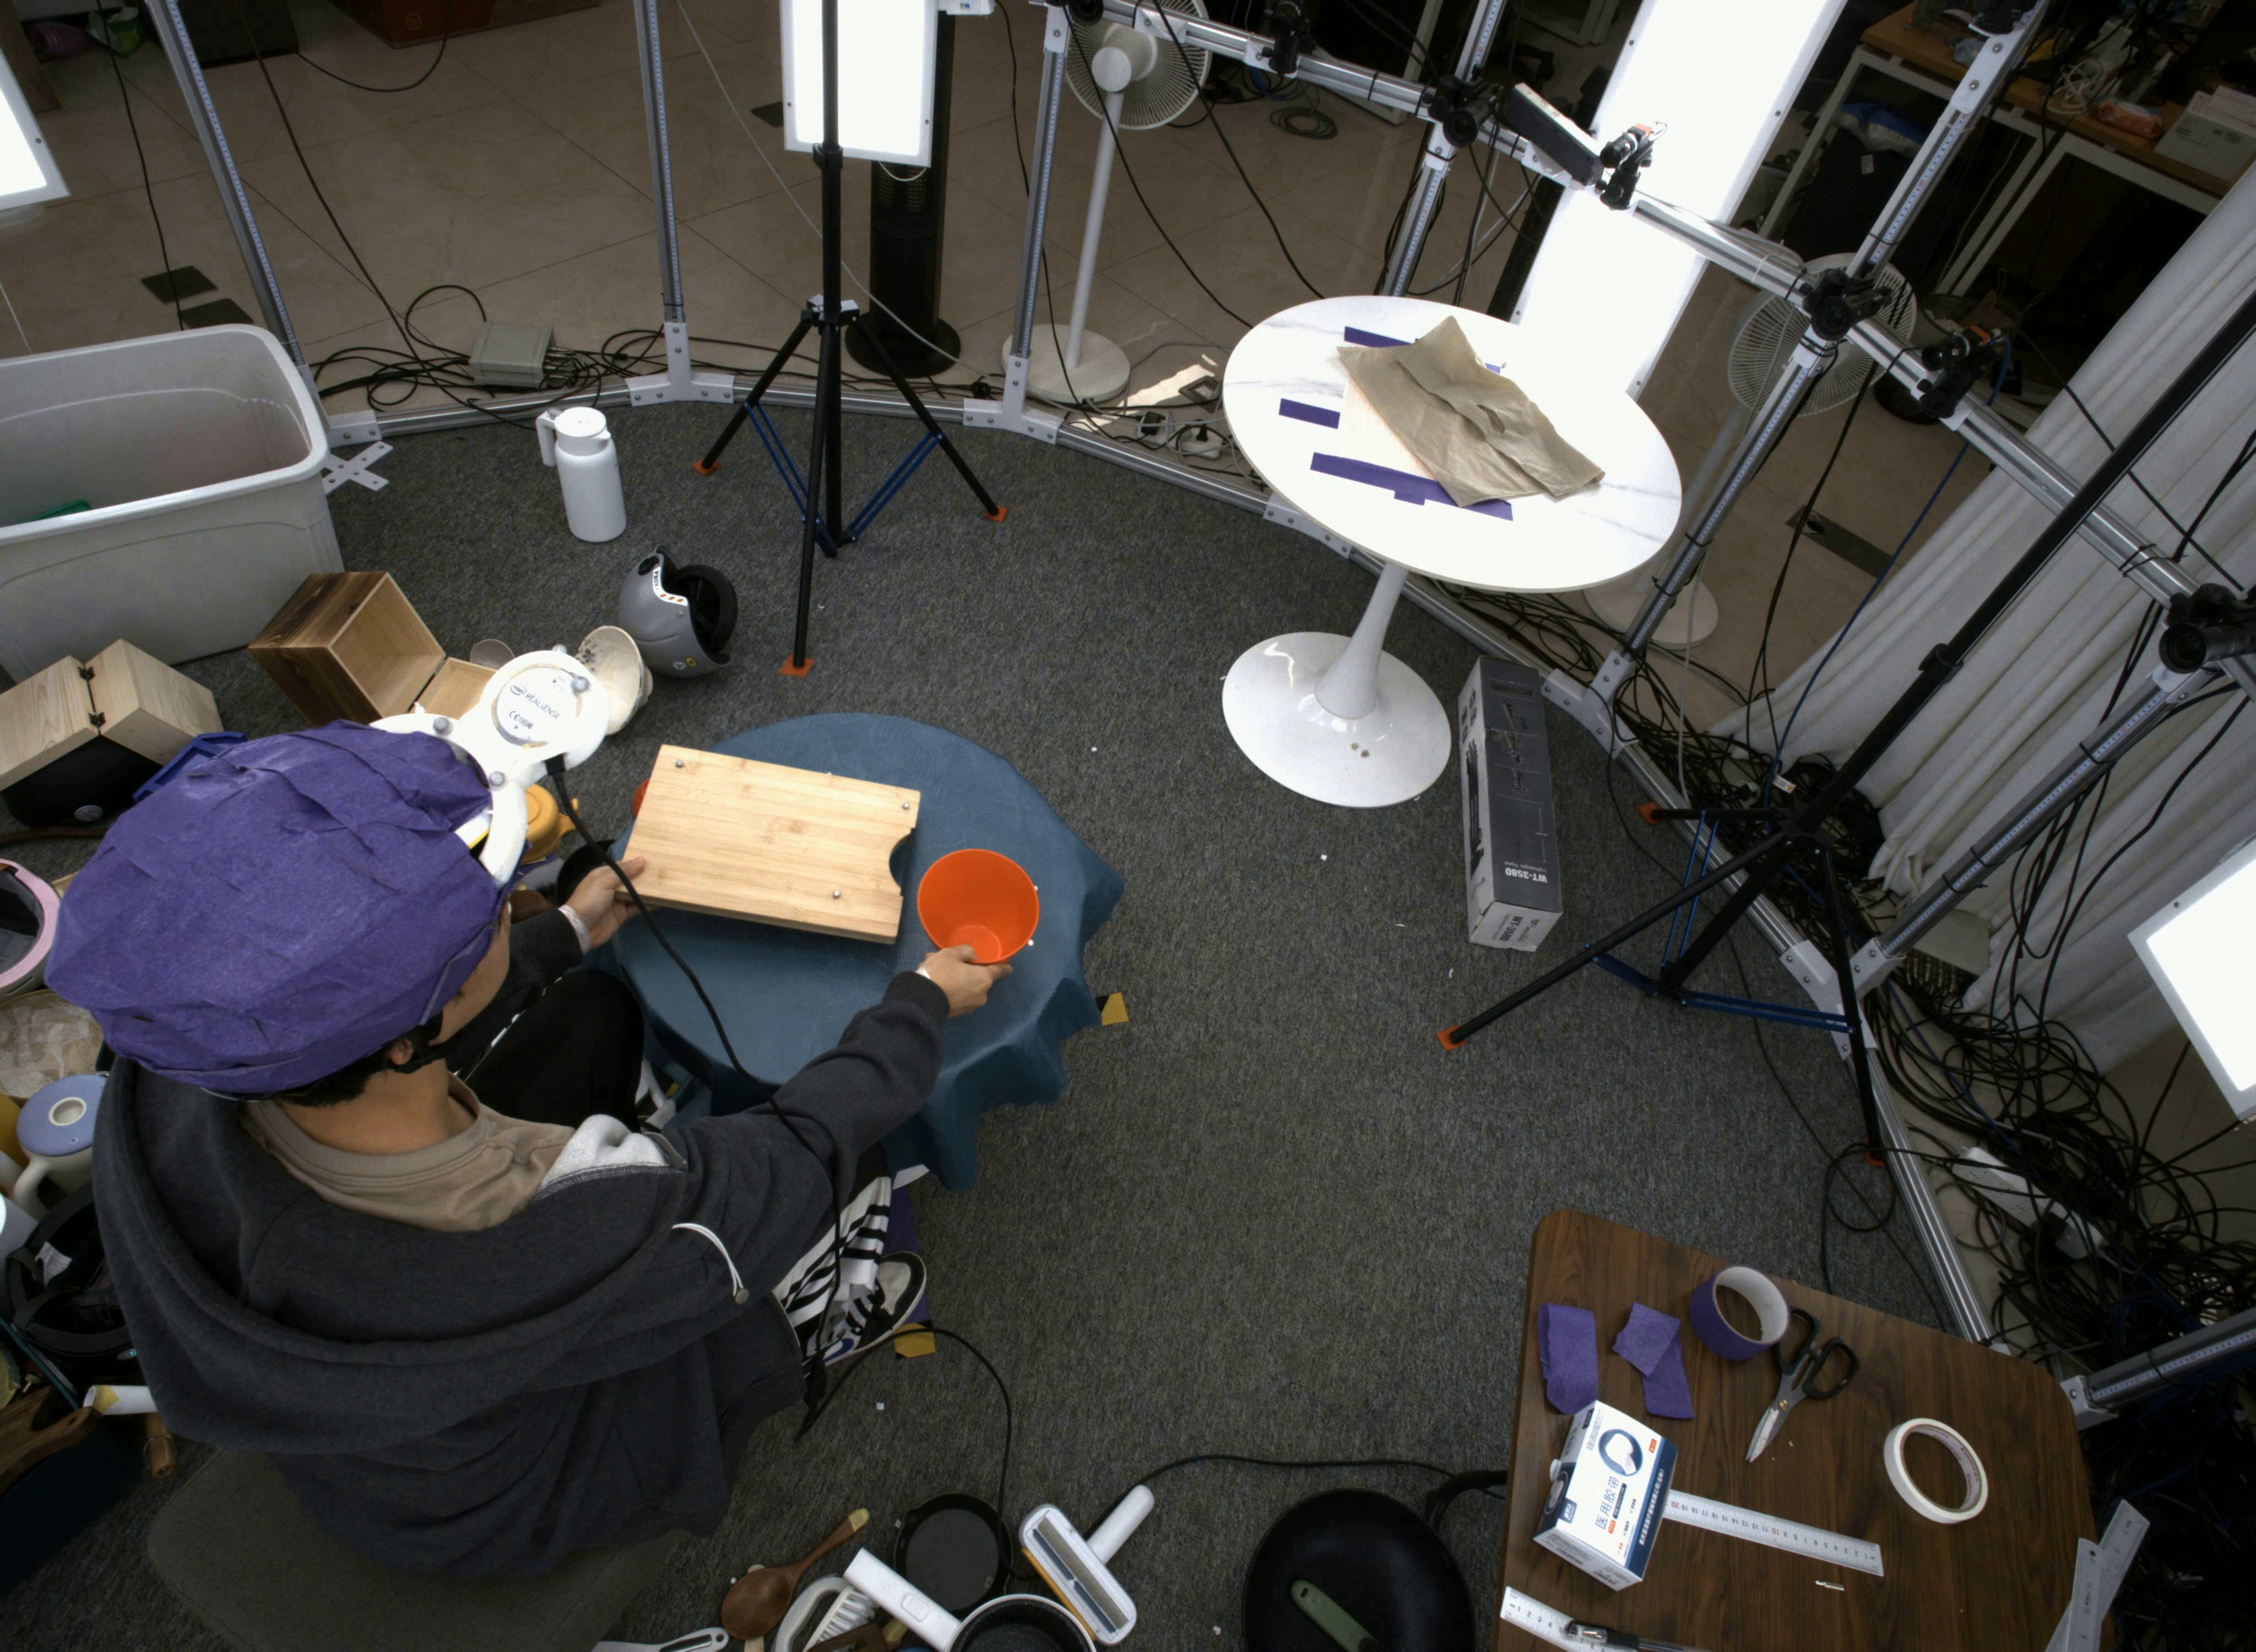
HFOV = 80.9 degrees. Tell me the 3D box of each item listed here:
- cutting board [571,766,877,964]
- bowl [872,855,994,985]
[{"bbox_3d":[-0.496,0.044,1.603,0.350,0.024,0.245,8,51,-15],"label":"cutting board"},{"bbox_3d":[-0.239,0.125,1.582,0.148,0.106,0.145,9,51,-10],"label":"bowl"}]
